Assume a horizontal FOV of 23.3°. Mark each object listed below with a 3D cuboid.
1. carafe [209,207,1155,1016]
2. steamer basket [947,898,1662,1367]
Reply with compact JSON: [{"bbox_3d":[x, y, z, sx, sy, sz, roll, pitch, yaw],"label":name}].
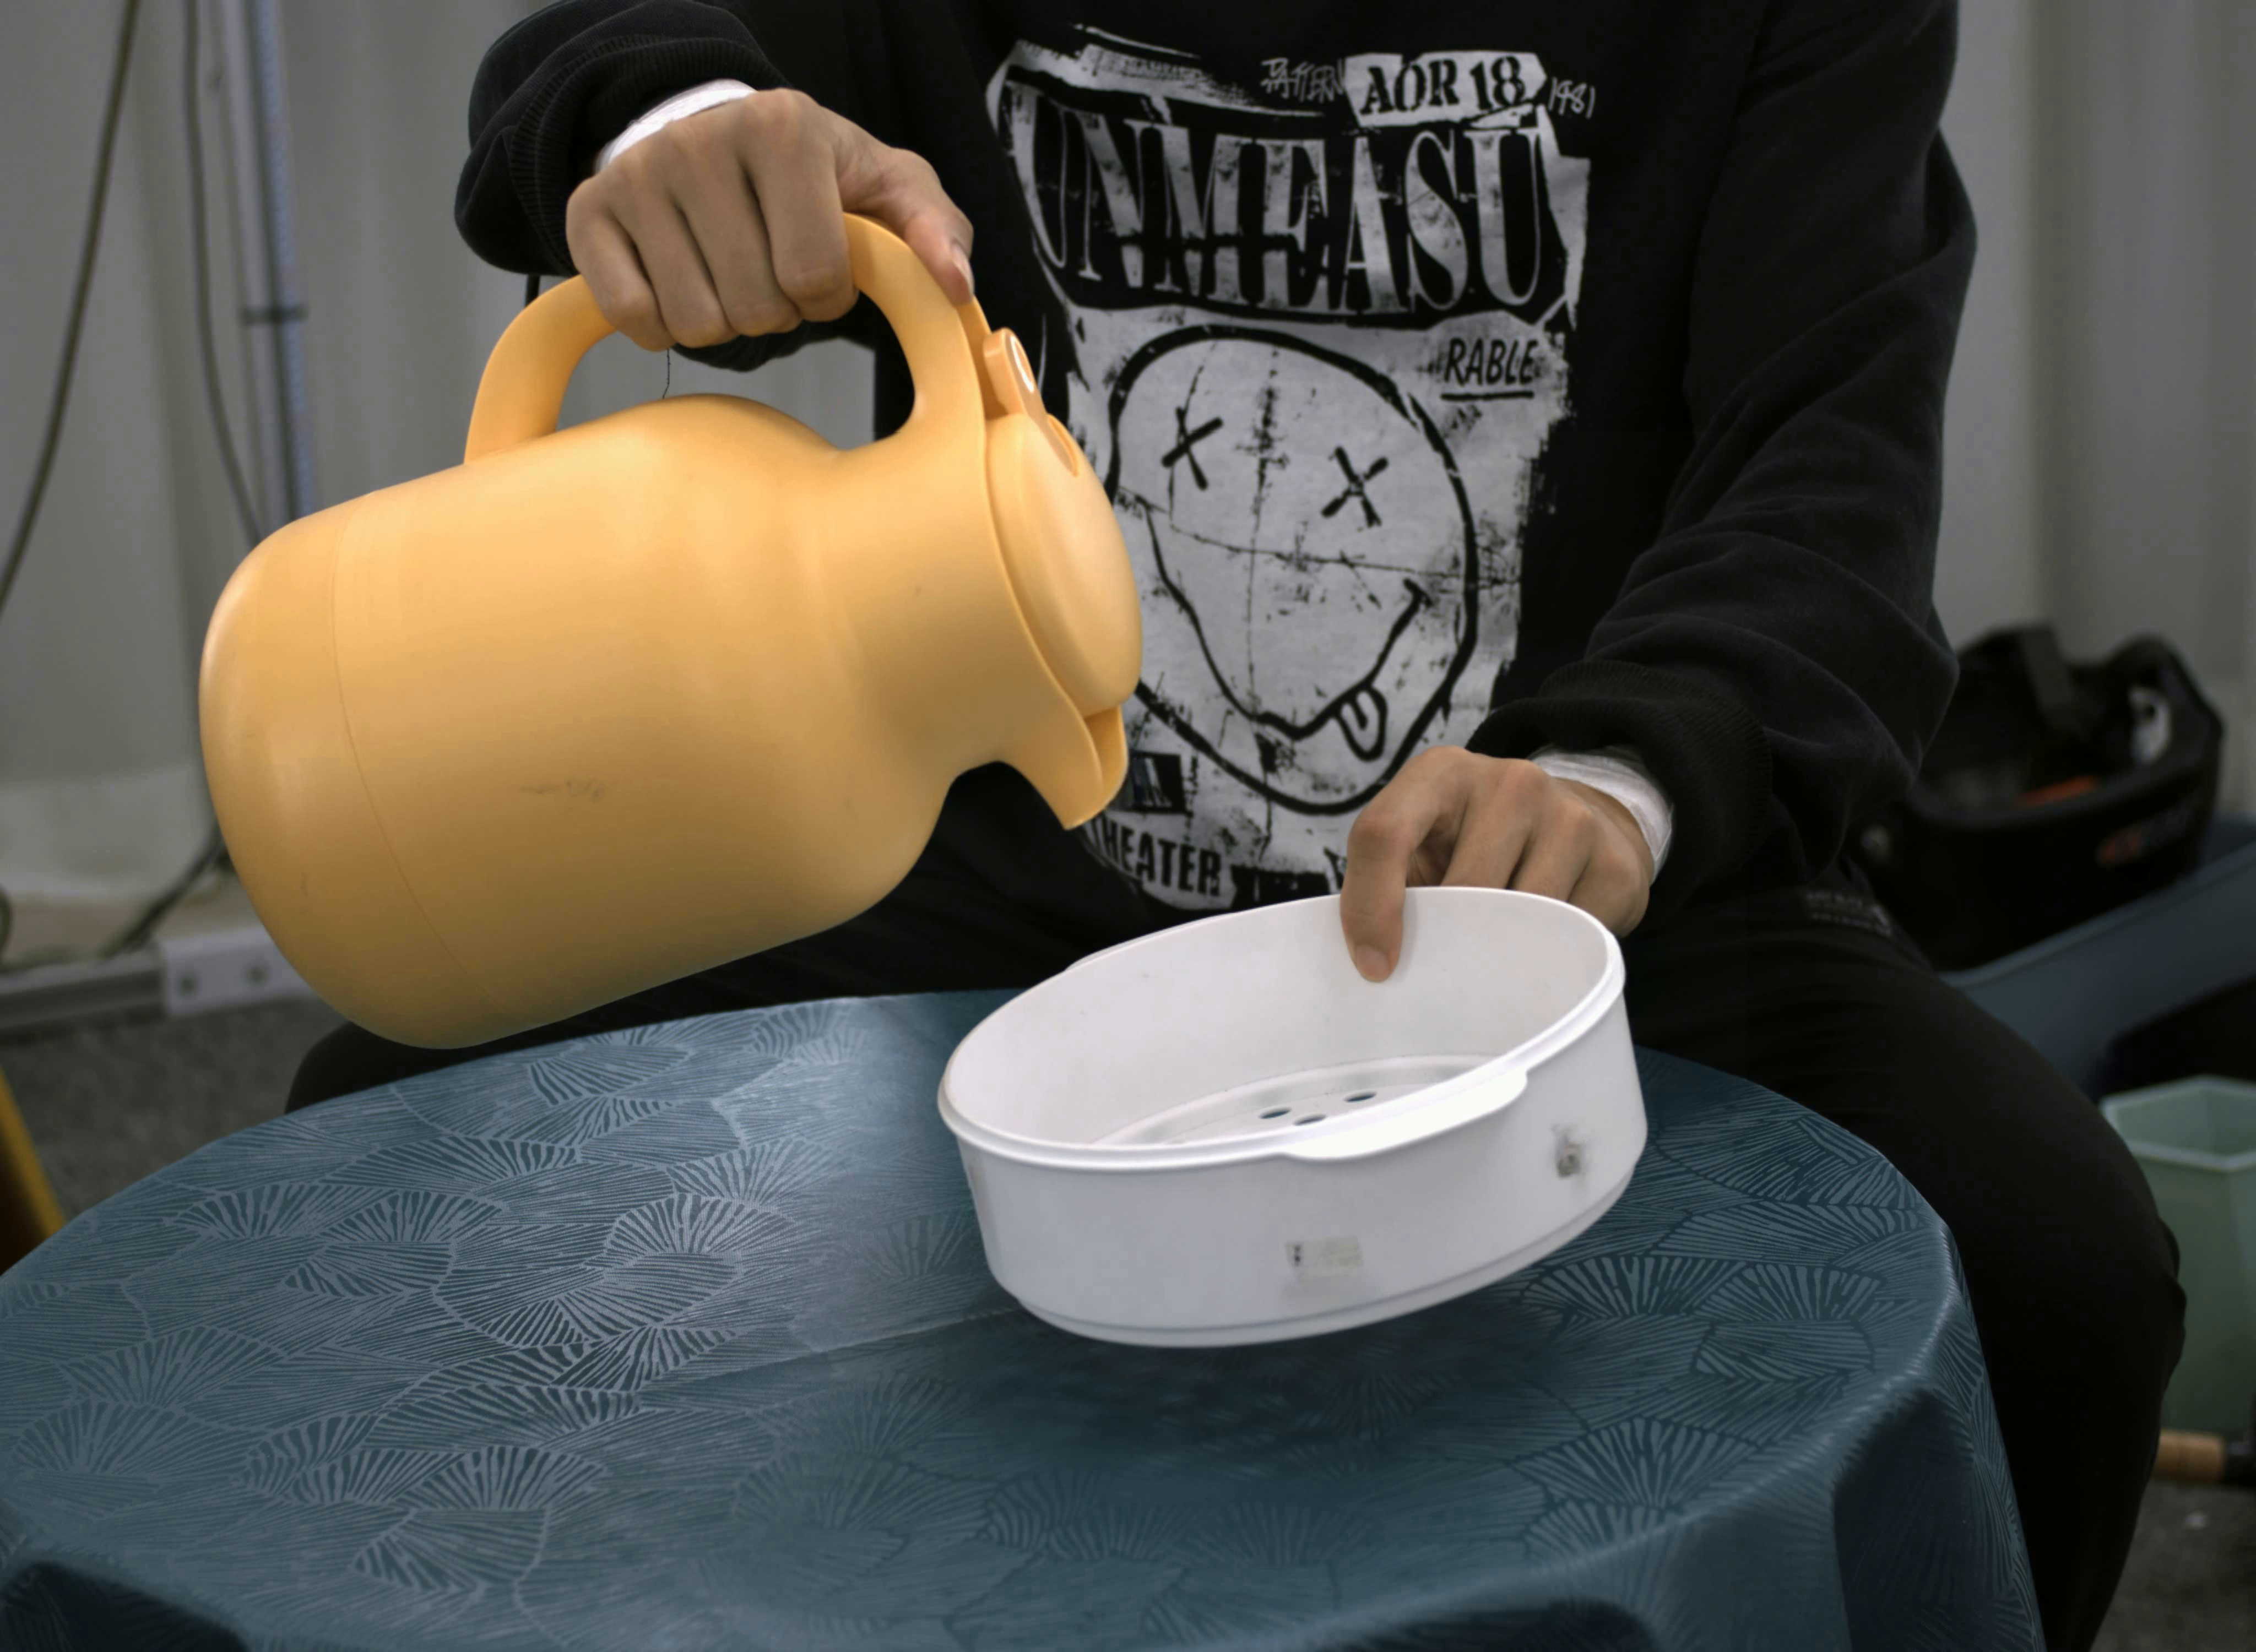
[{"bbox_3d":[-0.127,-0.064,1.577,0.260,0.203,0.163,-13,-4,16],"label":"carafe"},{"bbox_3d":[0.053,0.087,1.555,0.201,0.069,0.232,-18,18,-15],"label":"steamer basket"}]
